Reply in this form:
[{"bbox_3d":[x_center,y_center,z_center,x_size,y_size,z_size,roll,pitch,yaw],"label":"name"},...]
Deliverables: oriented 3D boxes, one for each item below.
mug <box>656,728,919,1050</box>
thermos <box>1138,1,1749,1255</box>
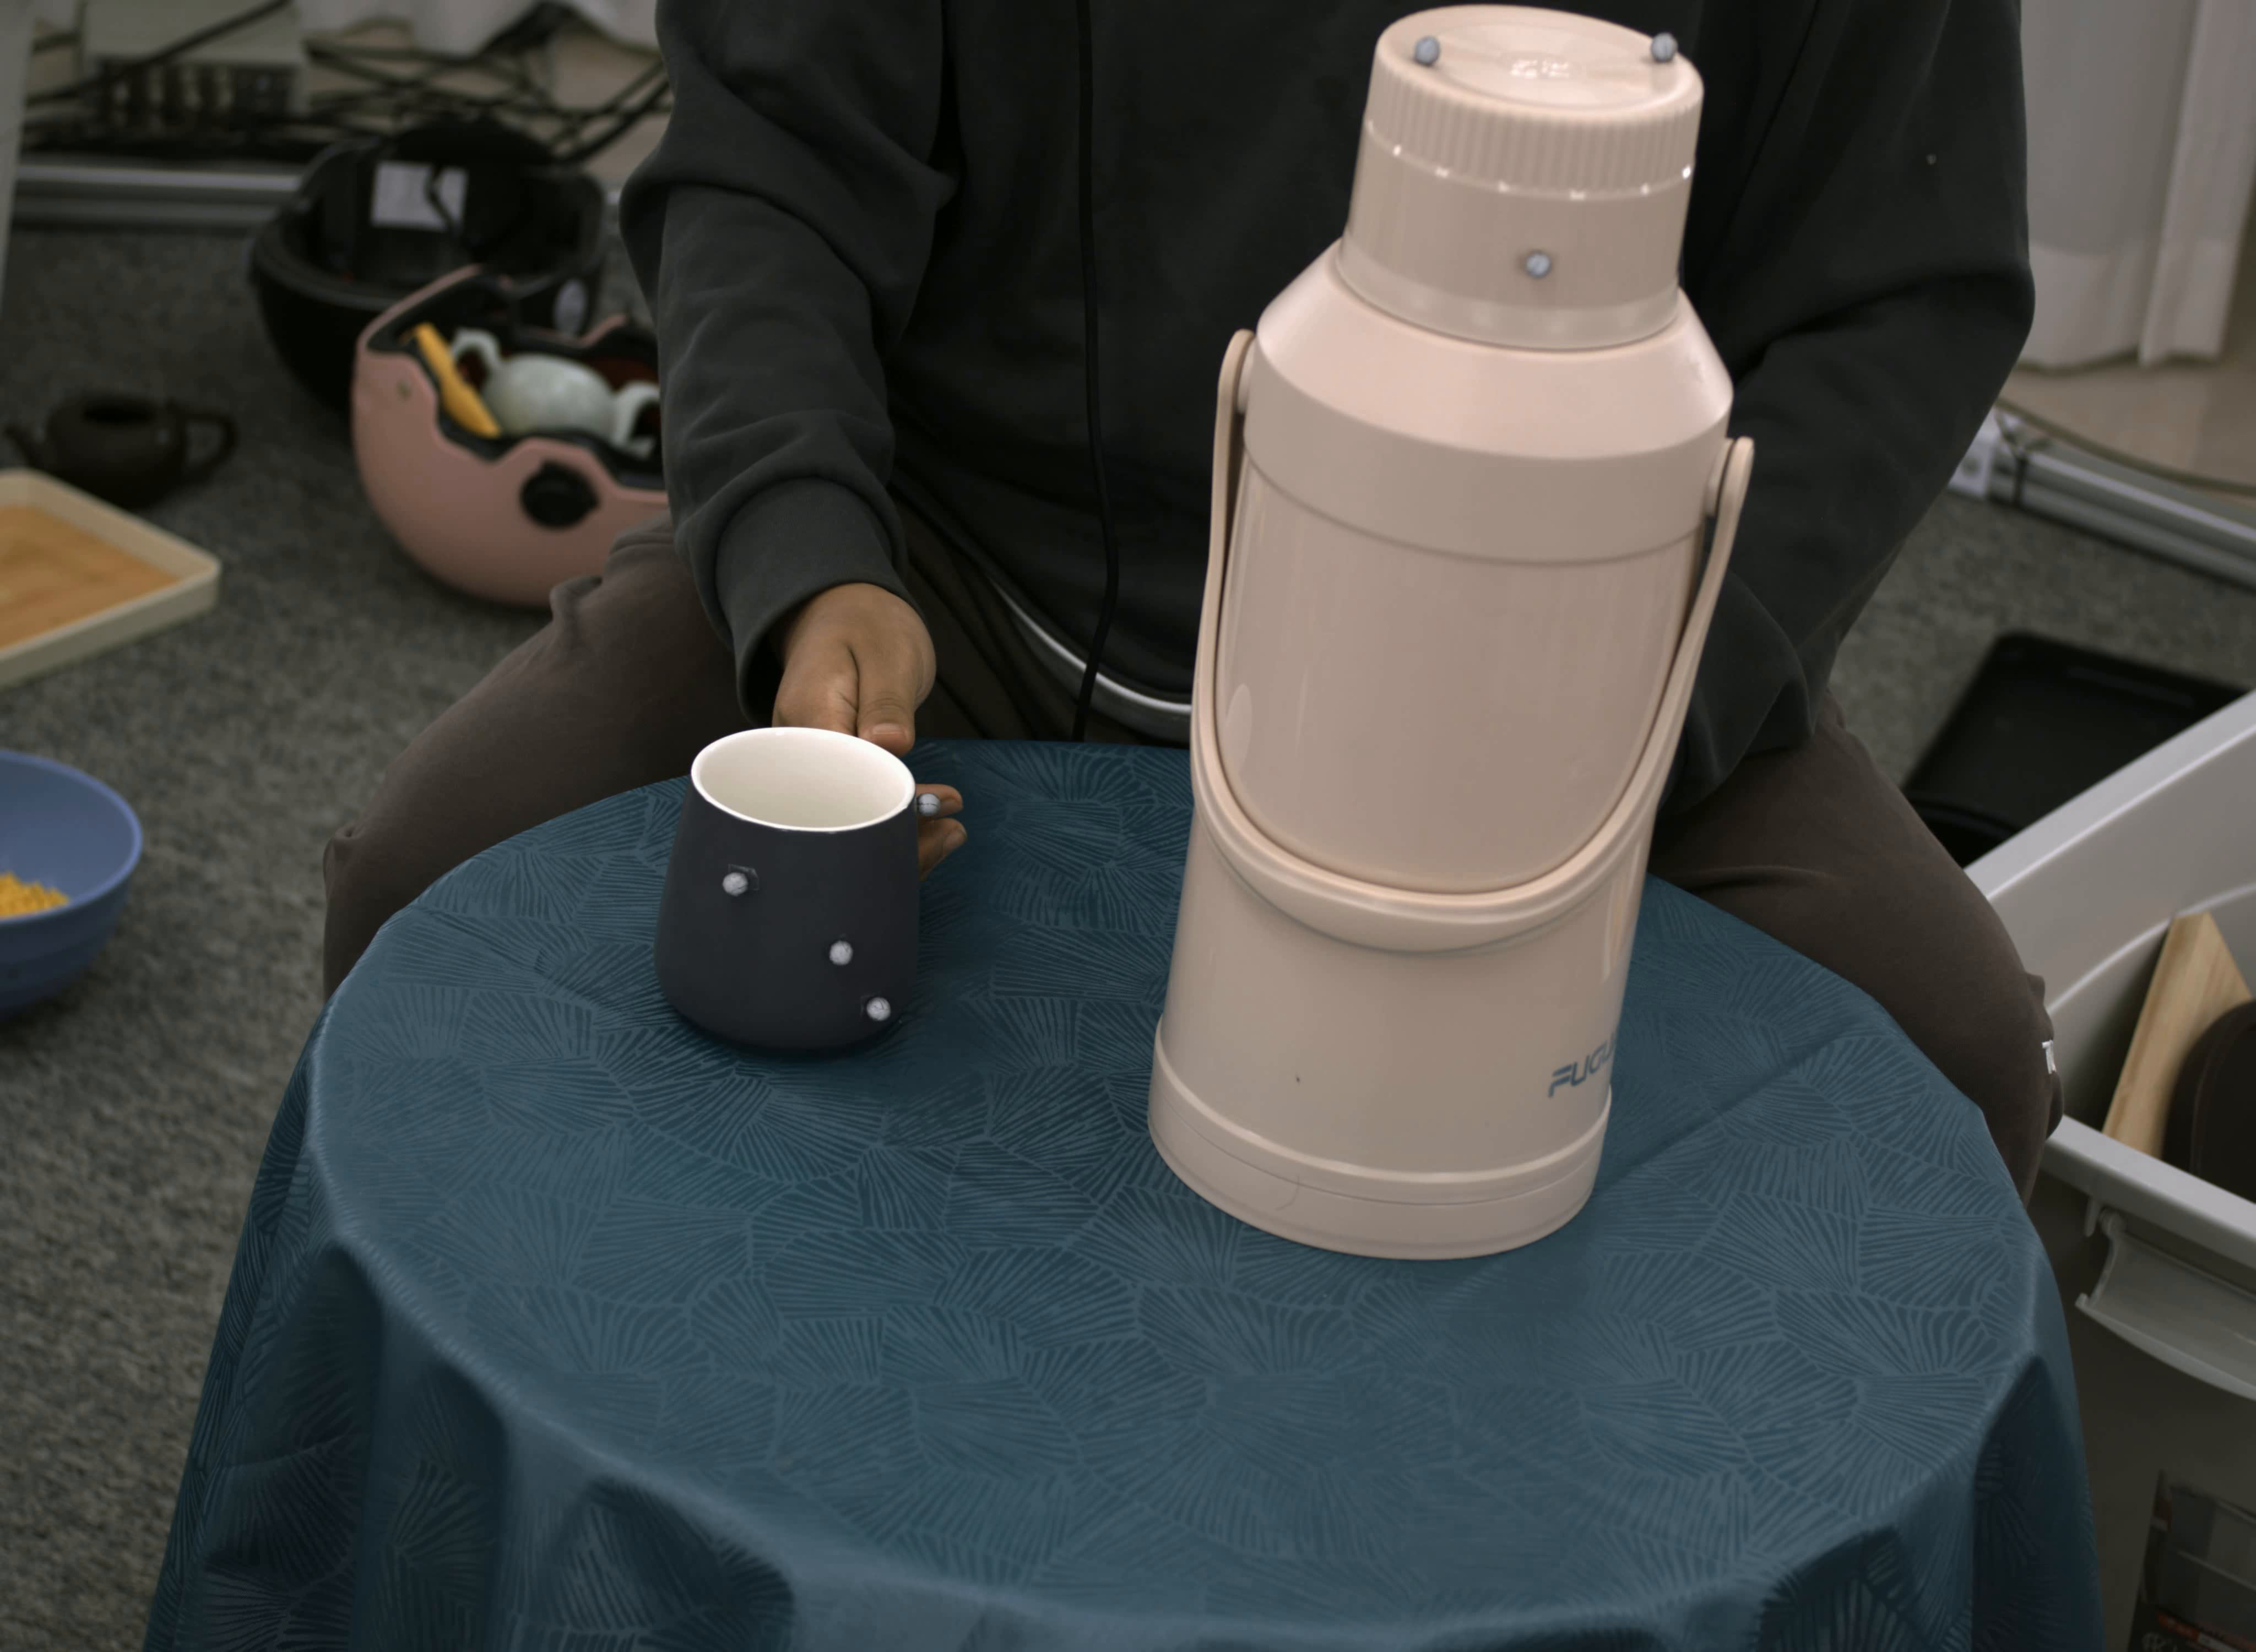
[{"bbox_3d":[-0.112,0.017,1.890,0.094,0.089,0.123,17,28,19],"label":"mug"},{"bbox_3d":[0.110,-0.072,1.781,0.175,0.405,0.207,13,27,11],"label":"thermos"}]
